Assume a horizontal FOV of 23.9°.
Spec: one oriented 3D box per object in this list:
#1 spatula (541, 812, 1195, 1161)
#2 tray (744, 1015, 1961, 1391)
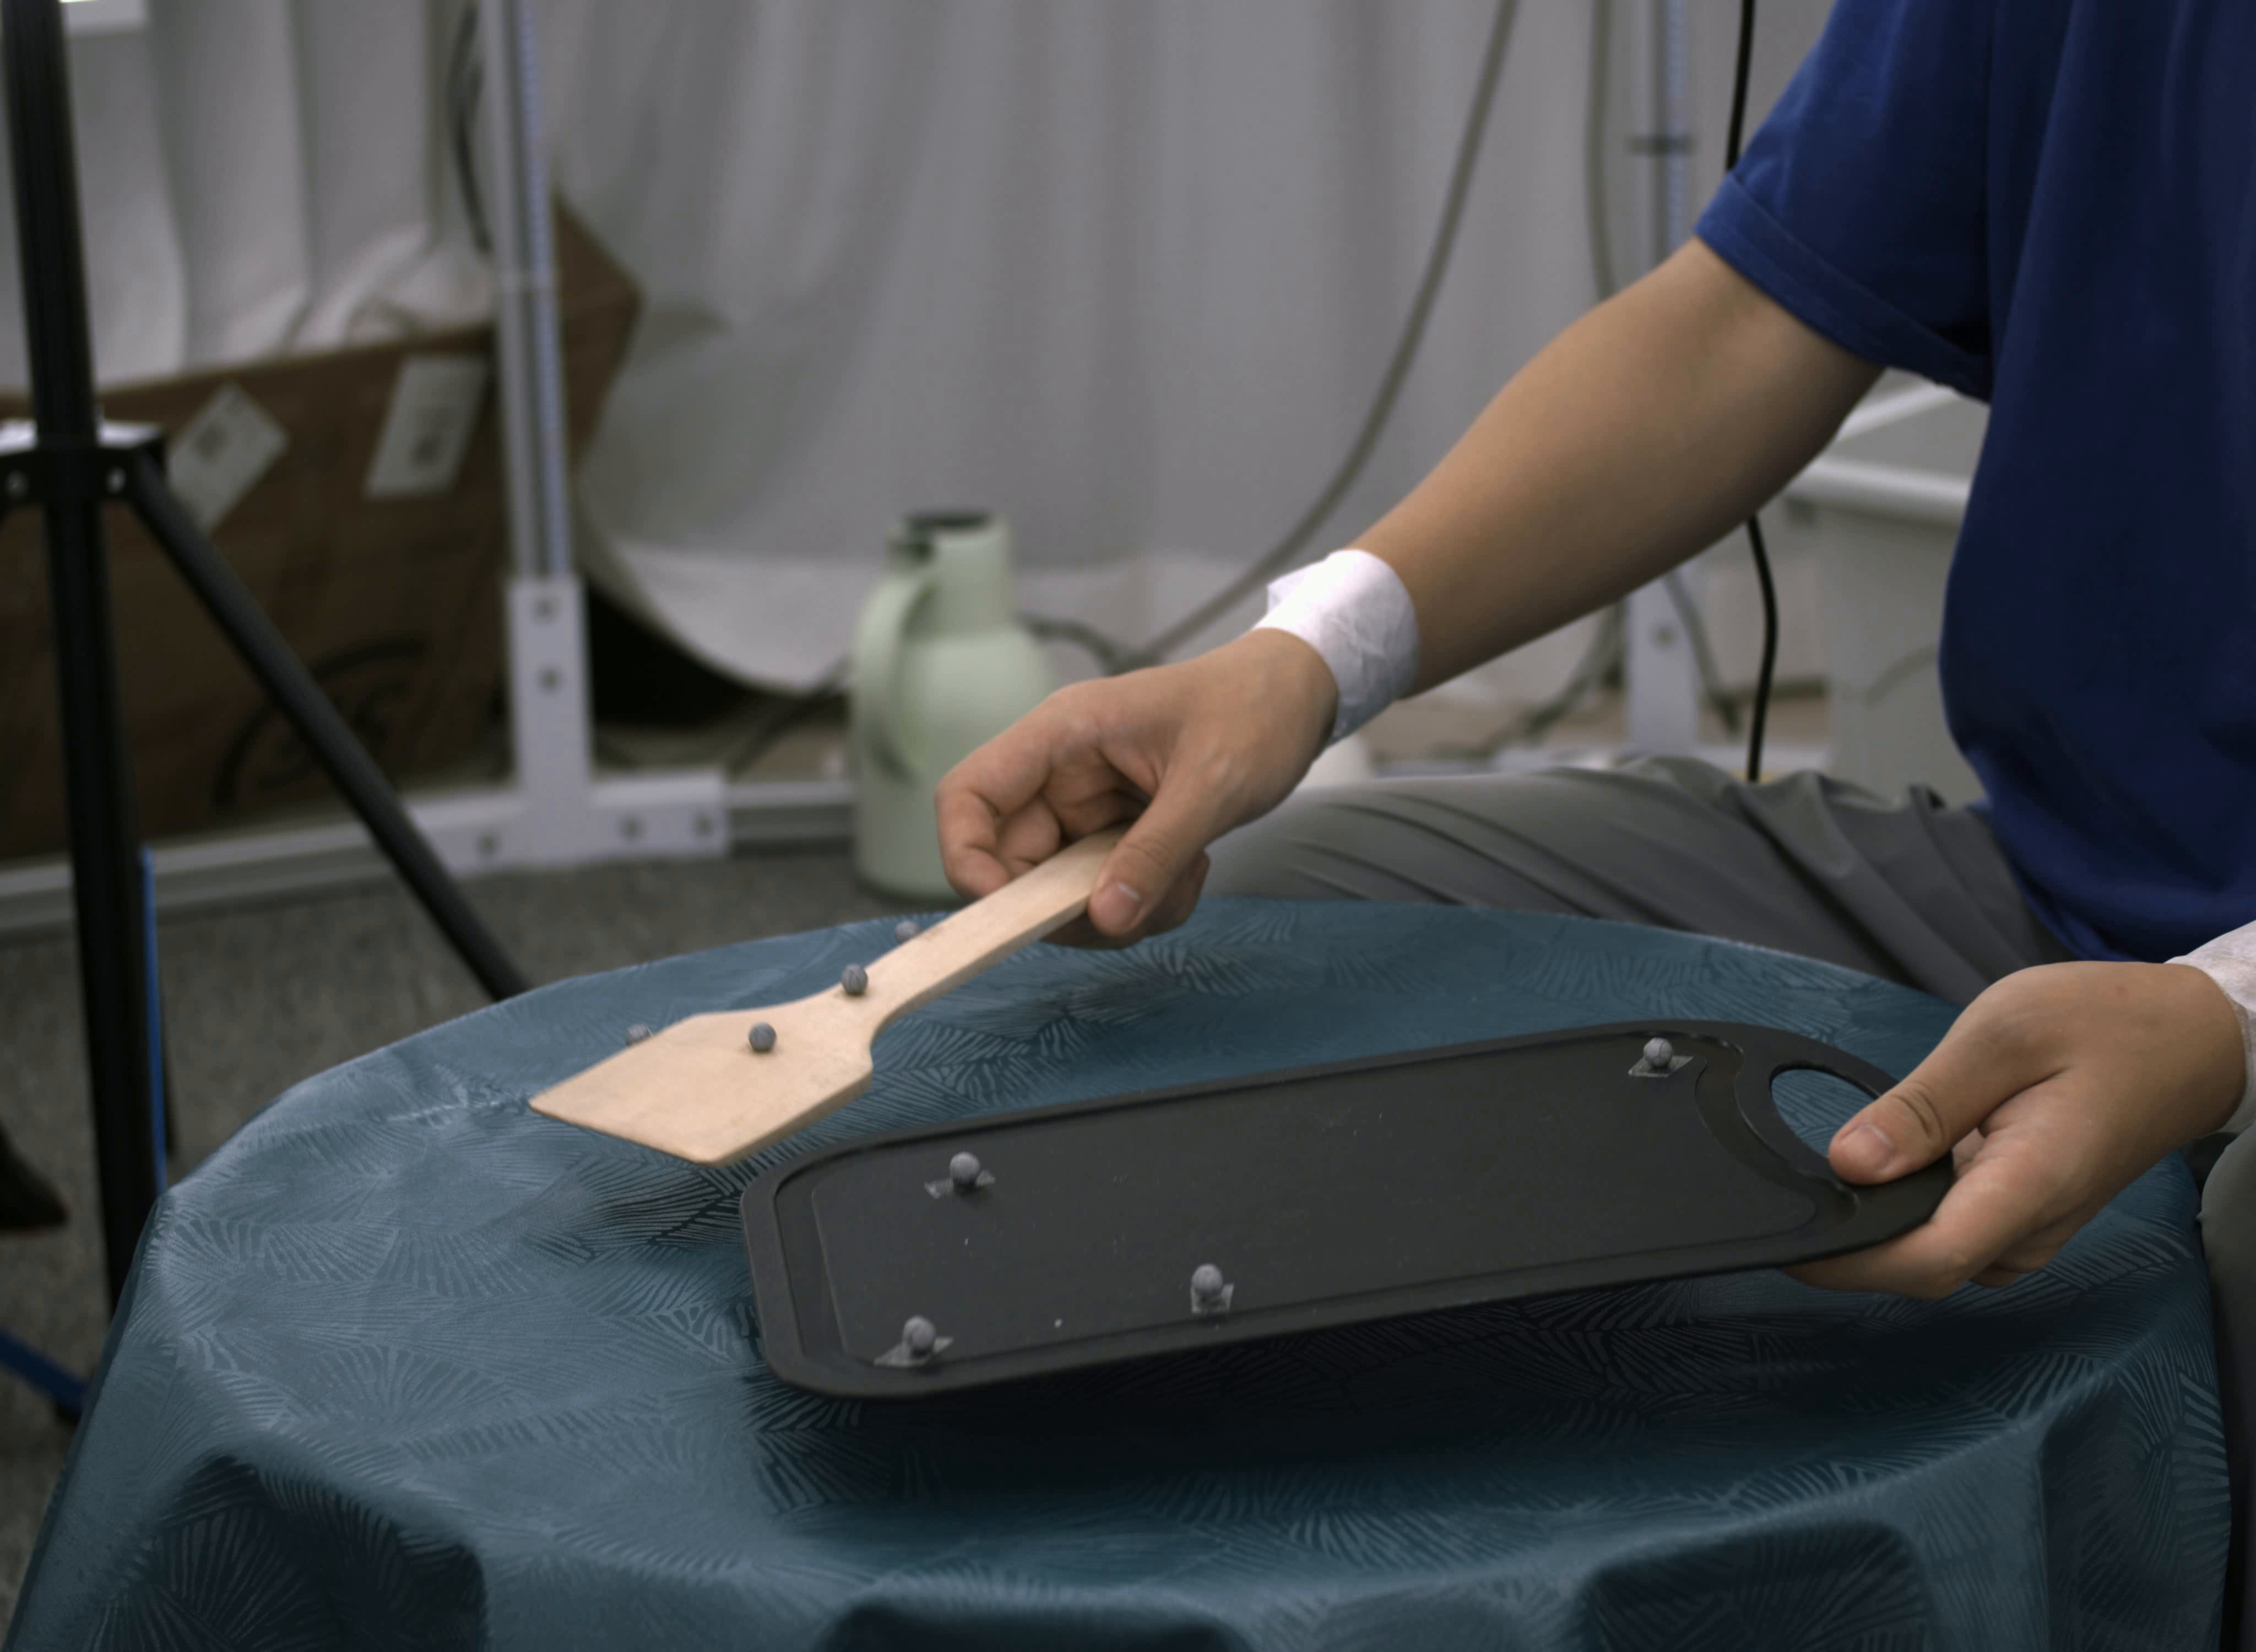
[{"bbox_3d":[-0.067,0.044,1.645,0.073,0.010,0.288,14,26,31],"label":"spatula"},{"bbox_3d":[0.060,0.095,1.424,0.323,0.010,0.213,-8,15,-3],"label":"tray"}]
